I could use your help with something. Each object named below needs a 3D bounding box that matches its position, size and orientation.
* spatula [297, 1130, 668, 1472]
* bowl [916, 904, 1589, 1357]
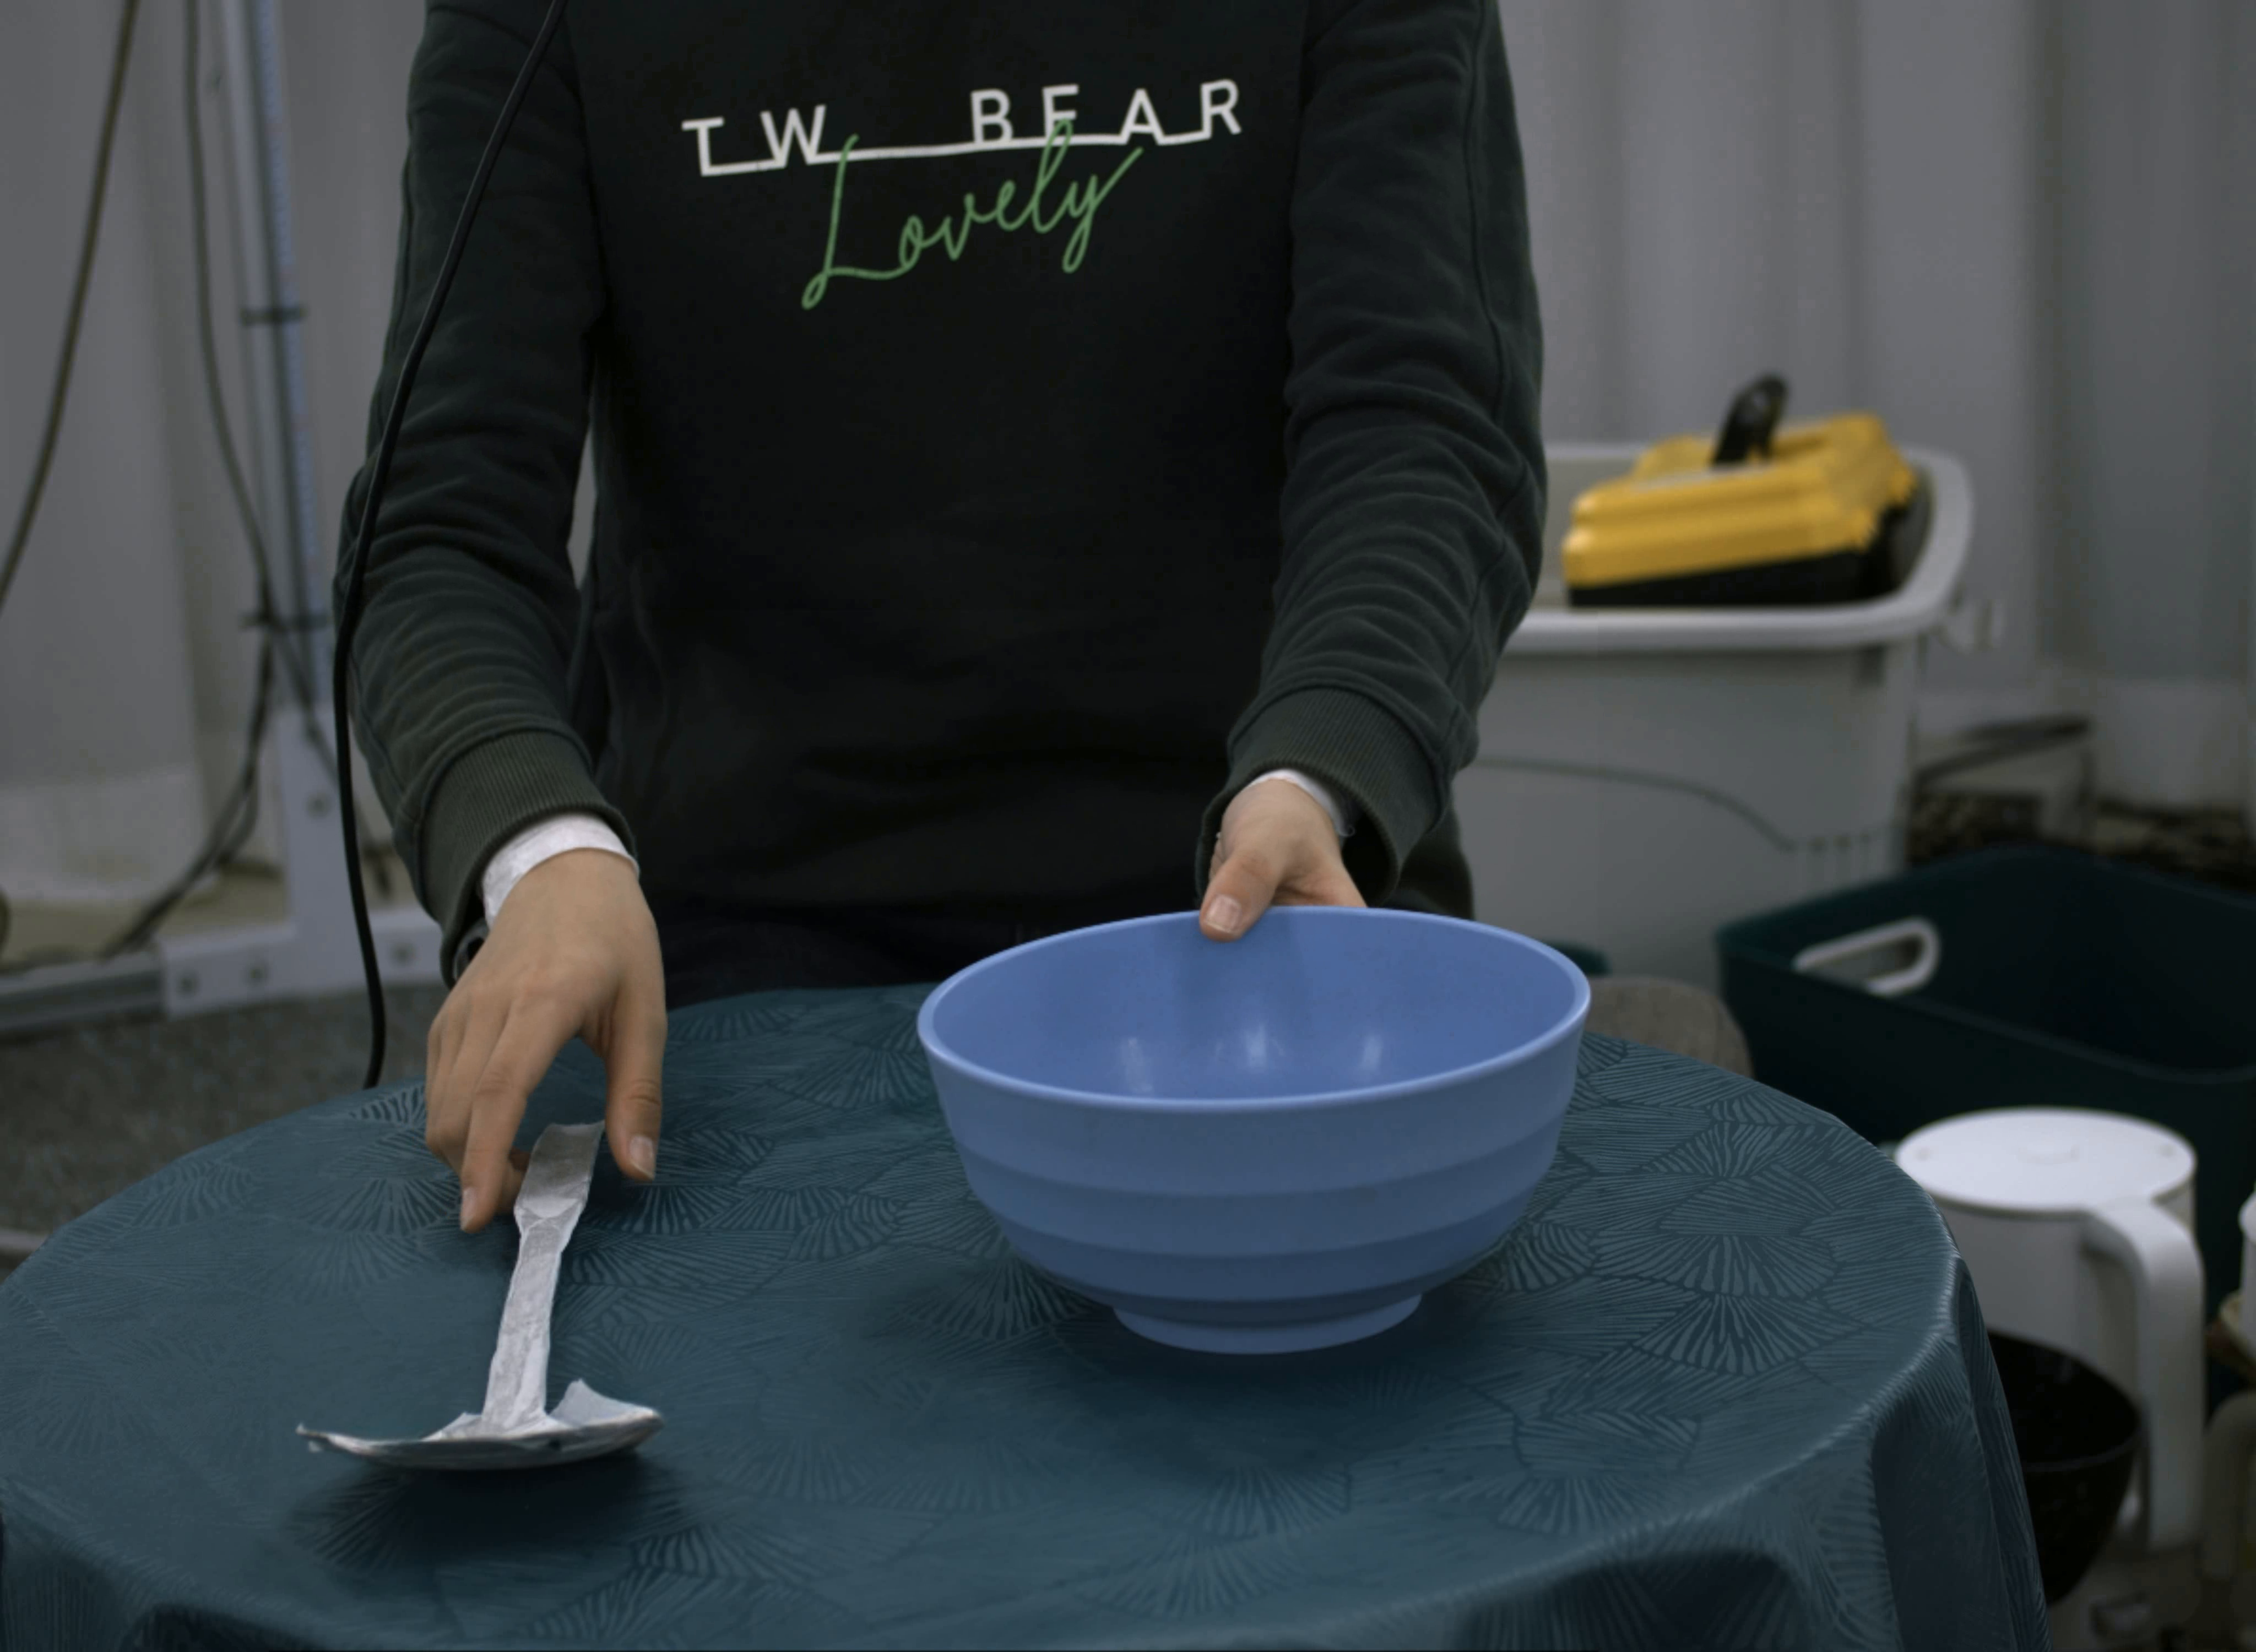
[{"bbox_3d":[-0.172,0.131,1.611,0.098,0.044,0.367,-4,15,1],"label":"spatula"},{"bbox_3d":[0.039,0.095,1.599,0.196,0.095,0.198,-4,15,1],"label":"bowl"}]
